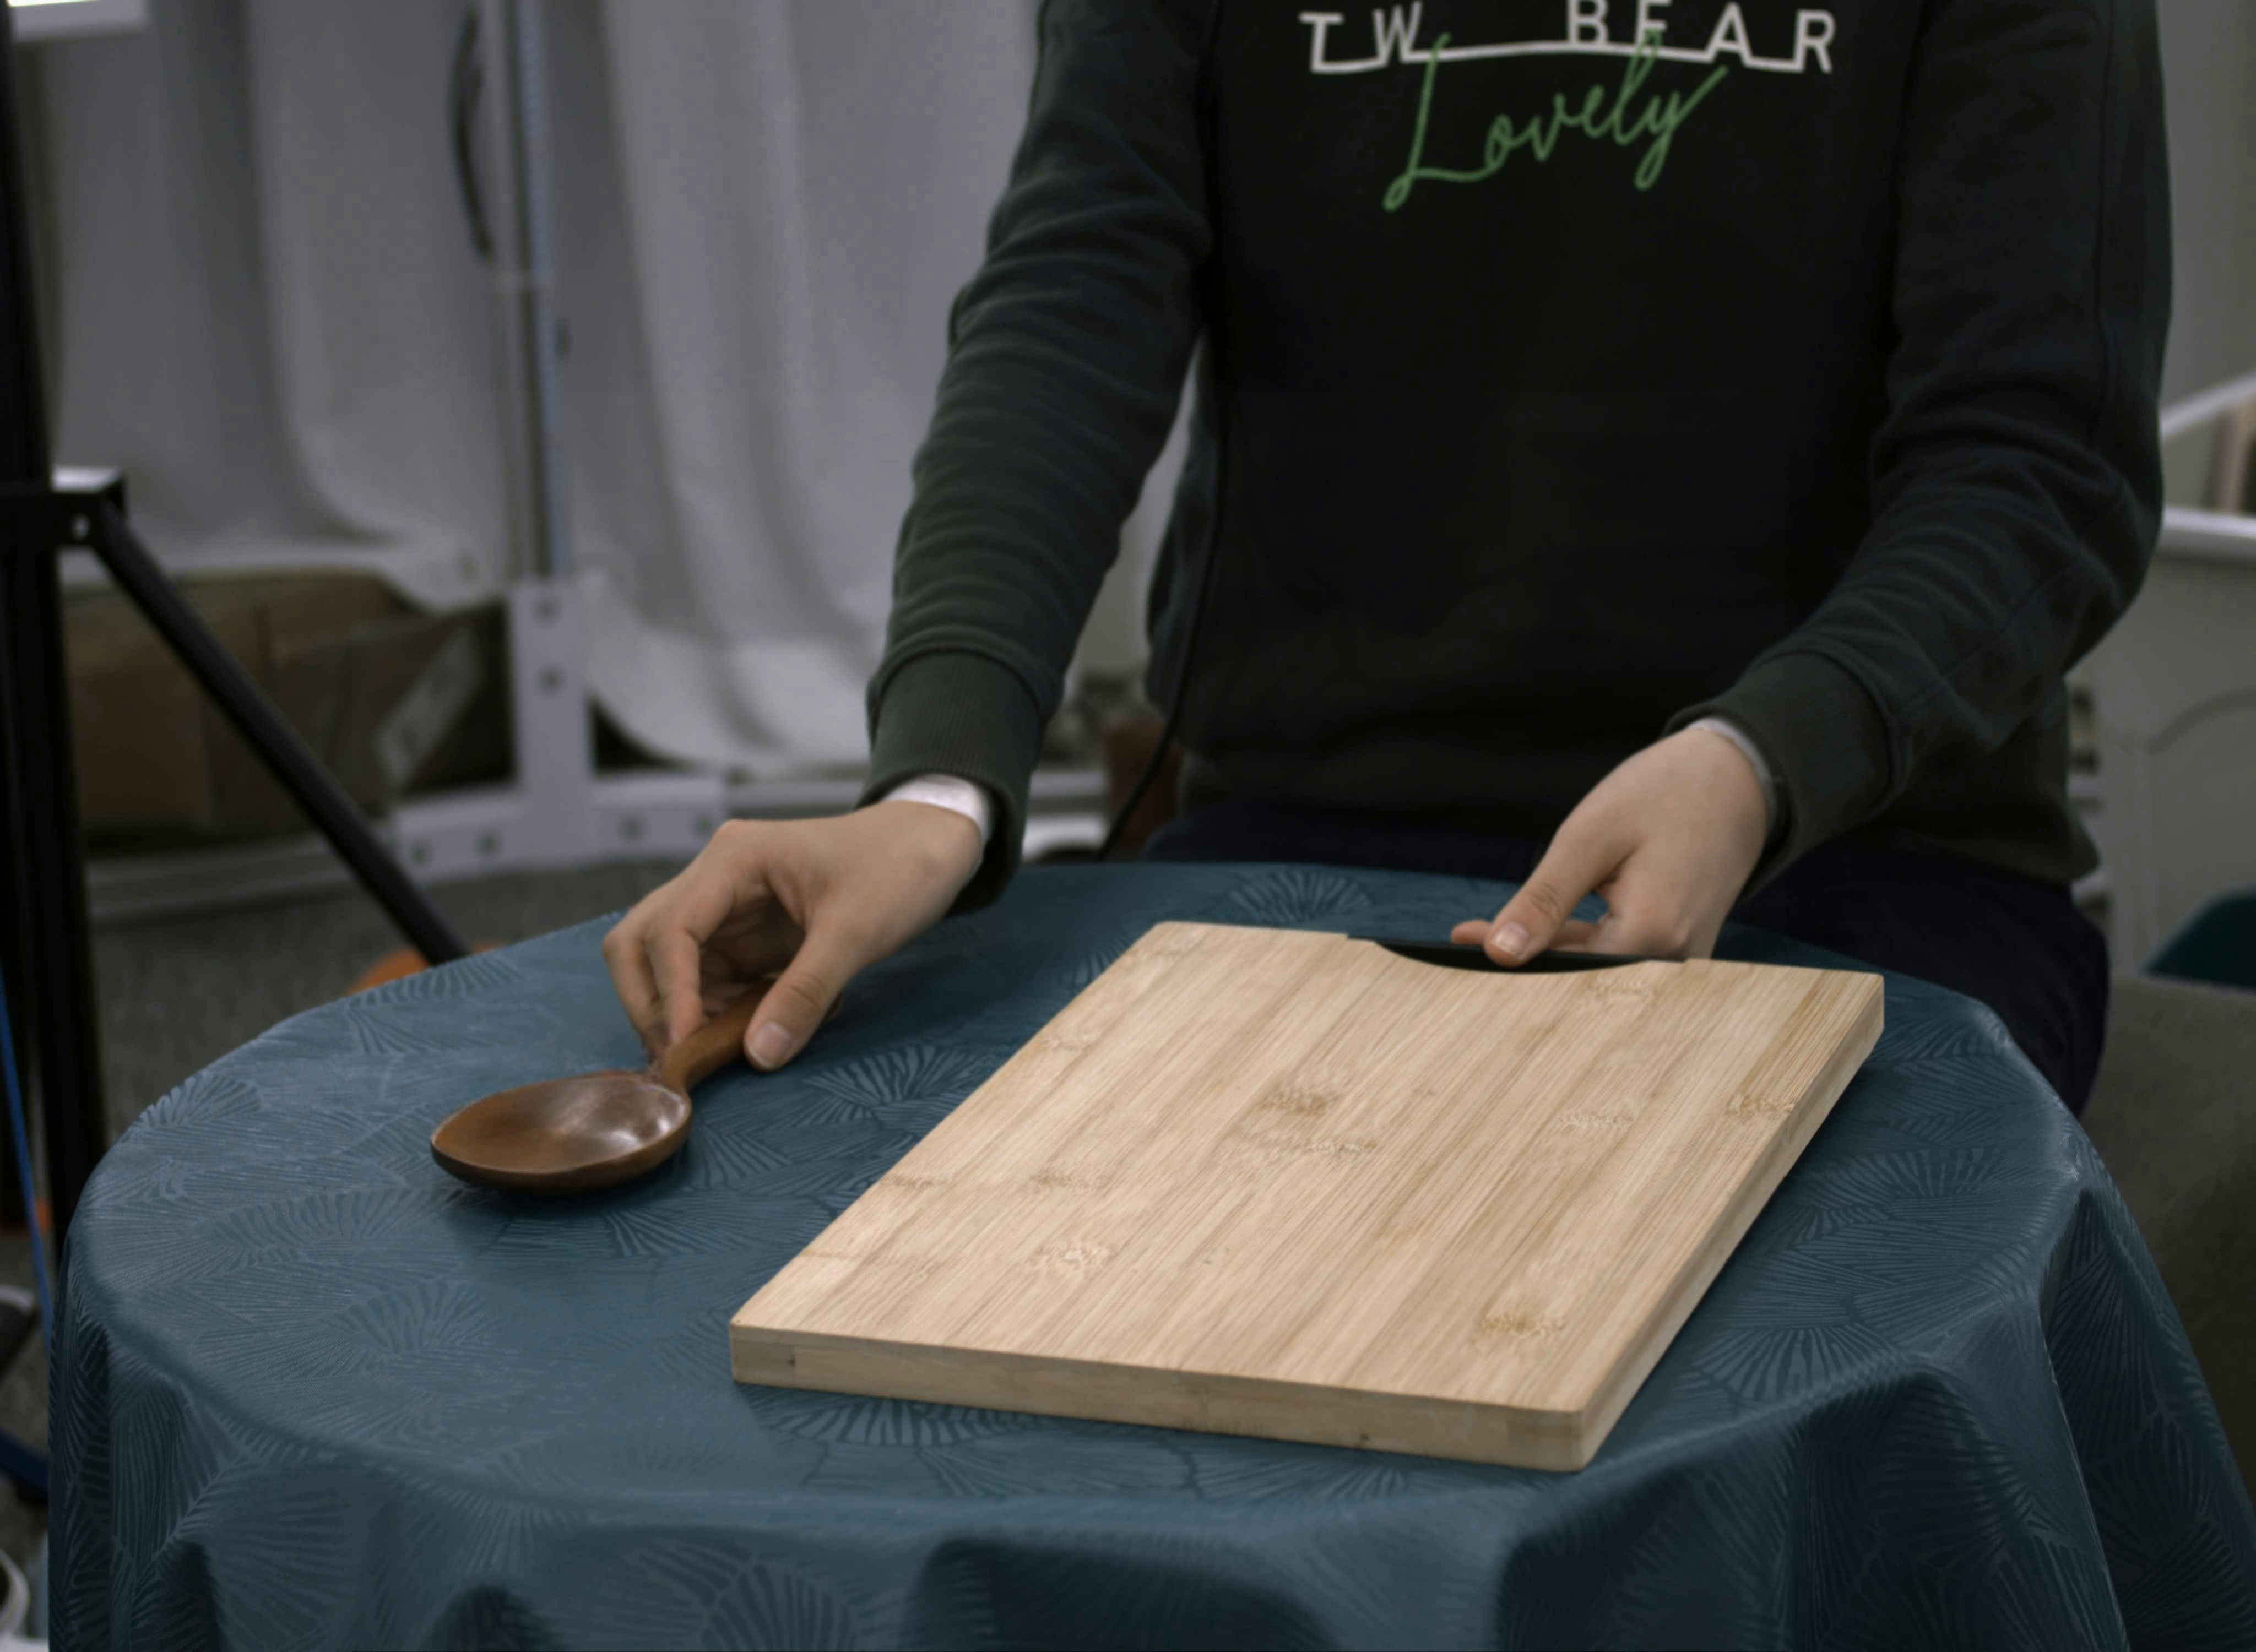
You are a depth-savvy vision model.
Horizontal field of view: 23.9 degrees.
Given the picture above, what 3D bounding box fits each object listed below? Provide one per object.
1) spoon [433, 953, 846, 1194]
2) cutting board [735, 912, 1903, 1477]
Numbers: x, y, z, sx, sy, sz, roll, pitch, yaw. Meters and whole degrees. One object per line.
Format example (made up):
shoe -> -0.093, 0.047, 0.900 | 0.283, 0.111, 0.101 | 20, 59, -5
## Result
spoon -> -0.142, 0.078, 1.654 | 0.076, 0.017, 0.213 | 3, 17, 24
cutting board -> 0.066, 0.097, 1.534 | 0.254, 0.023, 0.345 | 4, 19, 20
